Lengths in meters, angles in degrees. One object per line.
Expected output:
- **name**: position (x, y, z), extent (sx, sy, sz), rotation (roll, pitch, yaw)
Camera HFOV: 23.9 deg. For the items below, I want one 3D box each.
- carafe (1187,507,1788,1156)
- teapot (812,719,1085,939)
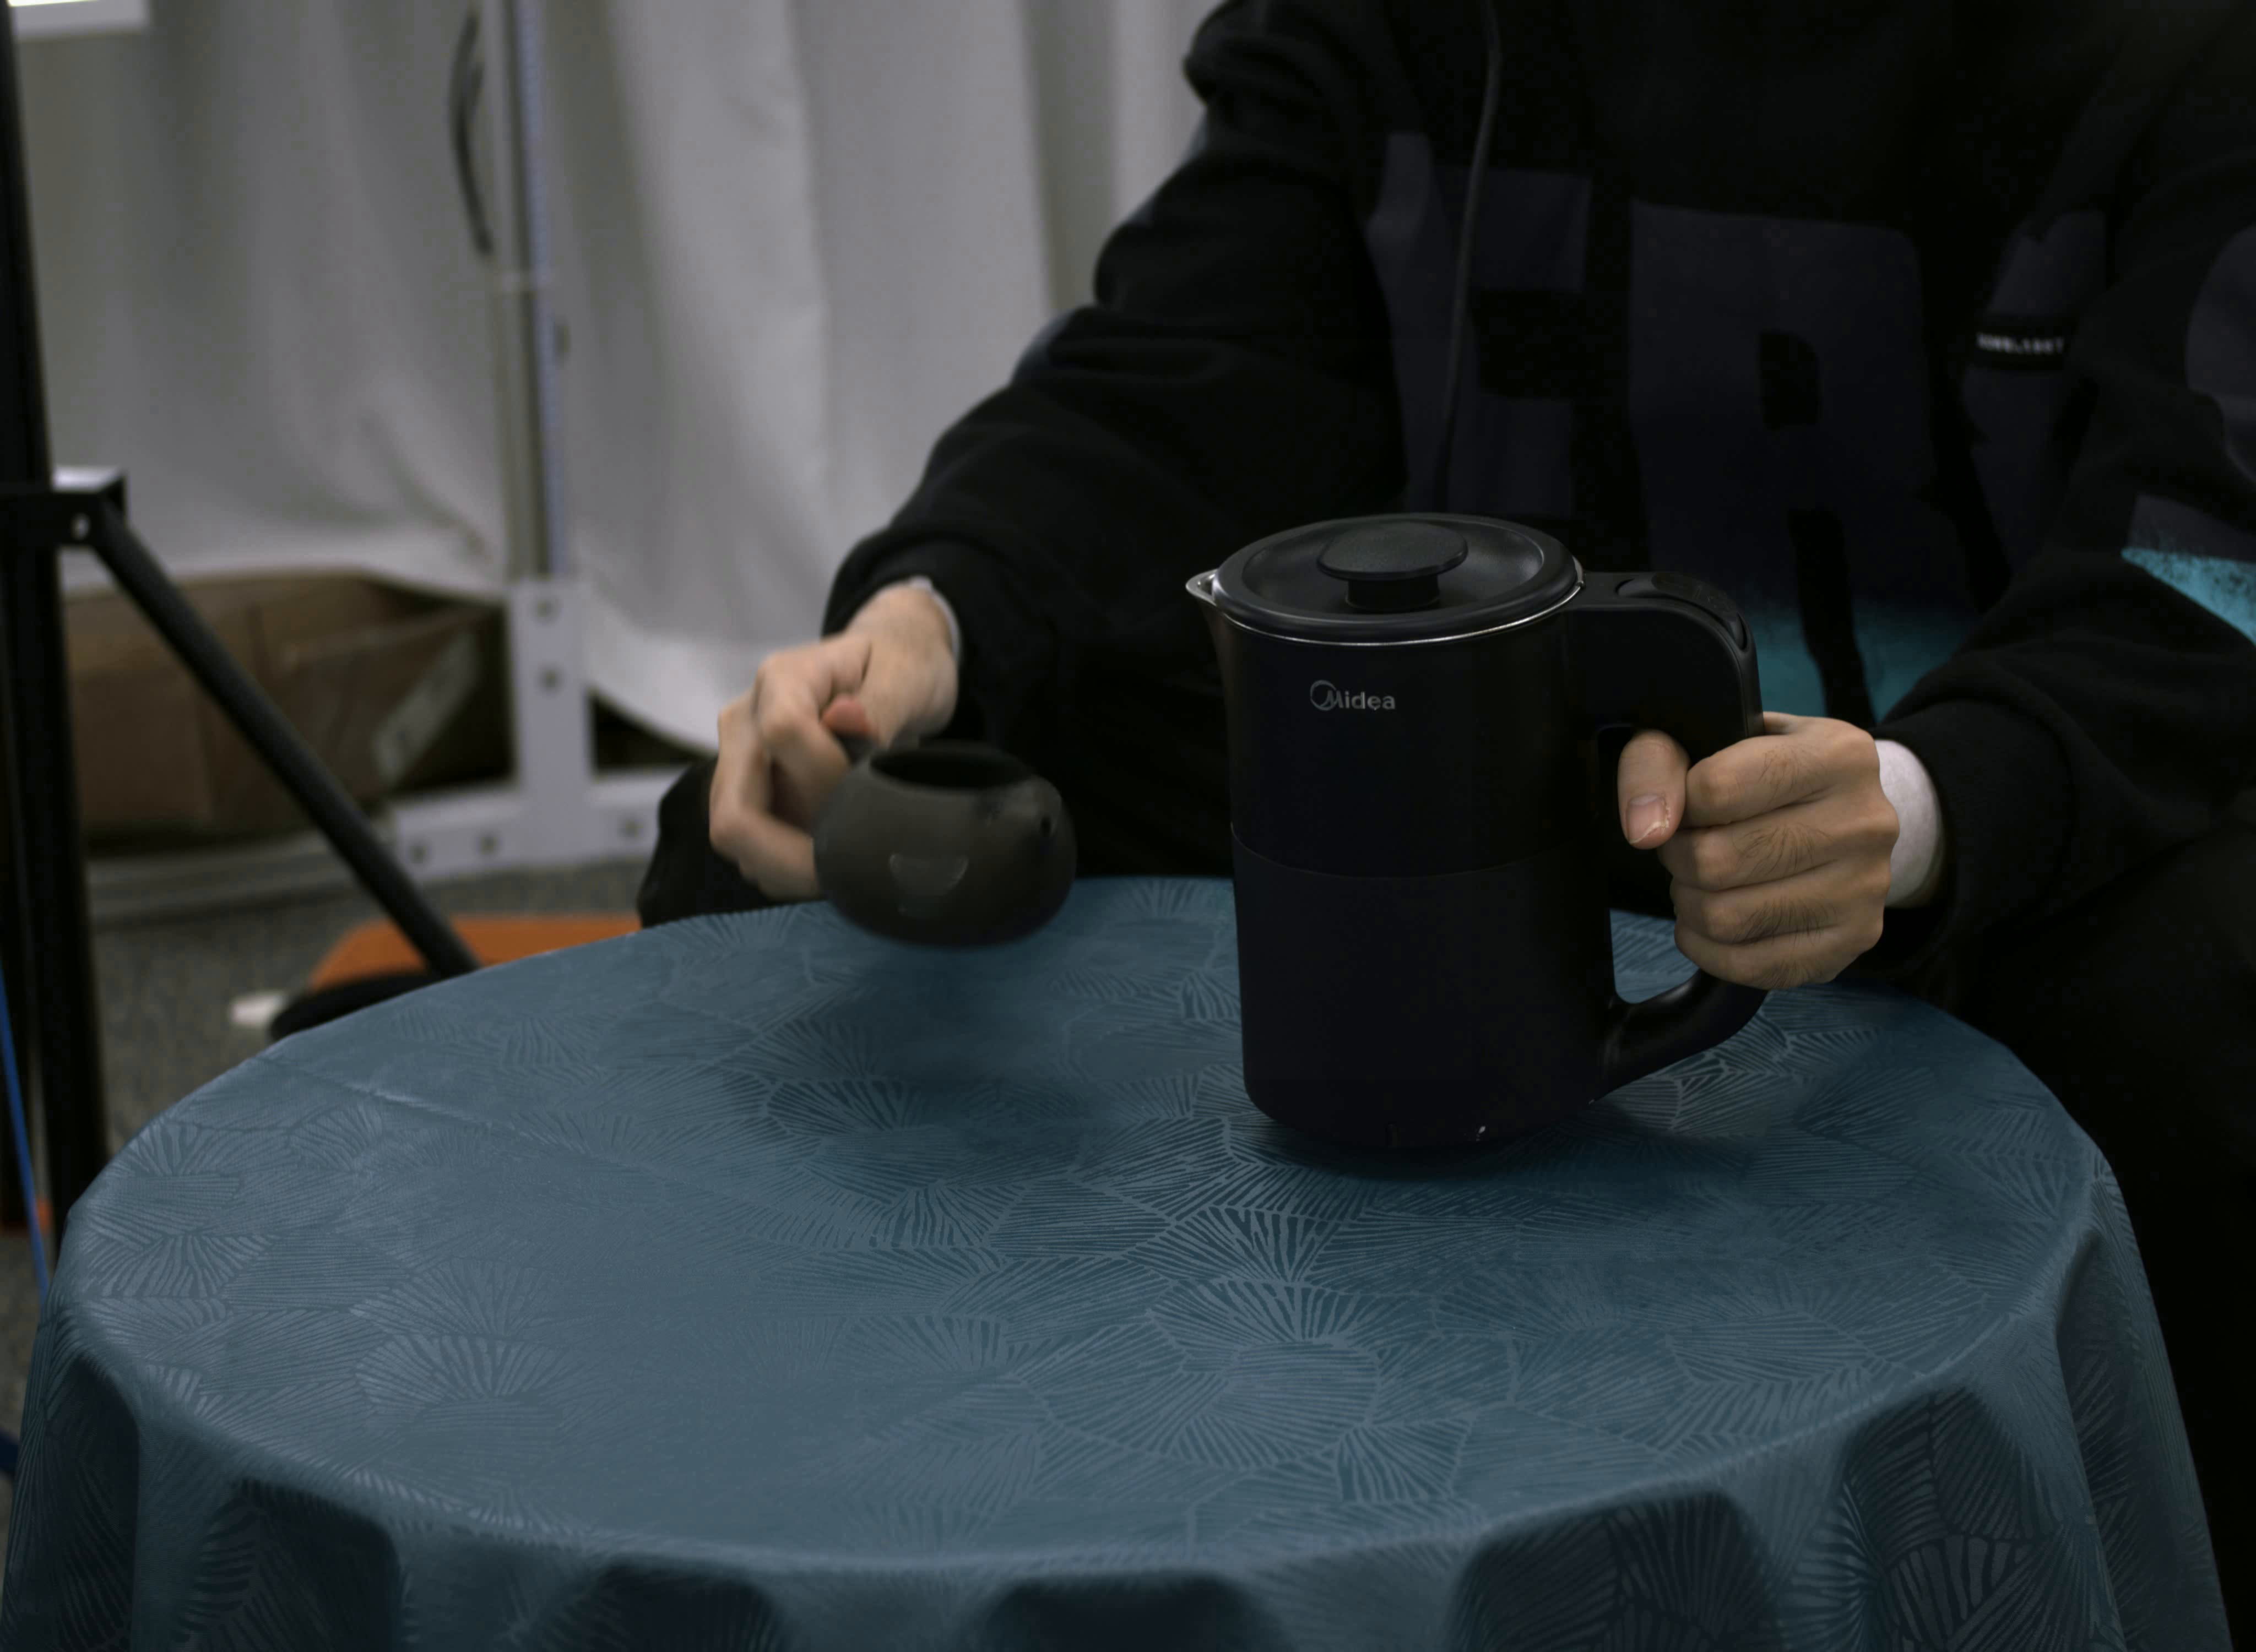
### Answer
- **carafe**: position (0.106, -0.004, 1.564), extent (0.173, 0.173, 0.114), rotation (-1, 18, 17)
- **teapot**: position (-0.061, -0.002, 1.657), extent (0.081, 0.053, 0.117), rotation (-8, 24, -38)
